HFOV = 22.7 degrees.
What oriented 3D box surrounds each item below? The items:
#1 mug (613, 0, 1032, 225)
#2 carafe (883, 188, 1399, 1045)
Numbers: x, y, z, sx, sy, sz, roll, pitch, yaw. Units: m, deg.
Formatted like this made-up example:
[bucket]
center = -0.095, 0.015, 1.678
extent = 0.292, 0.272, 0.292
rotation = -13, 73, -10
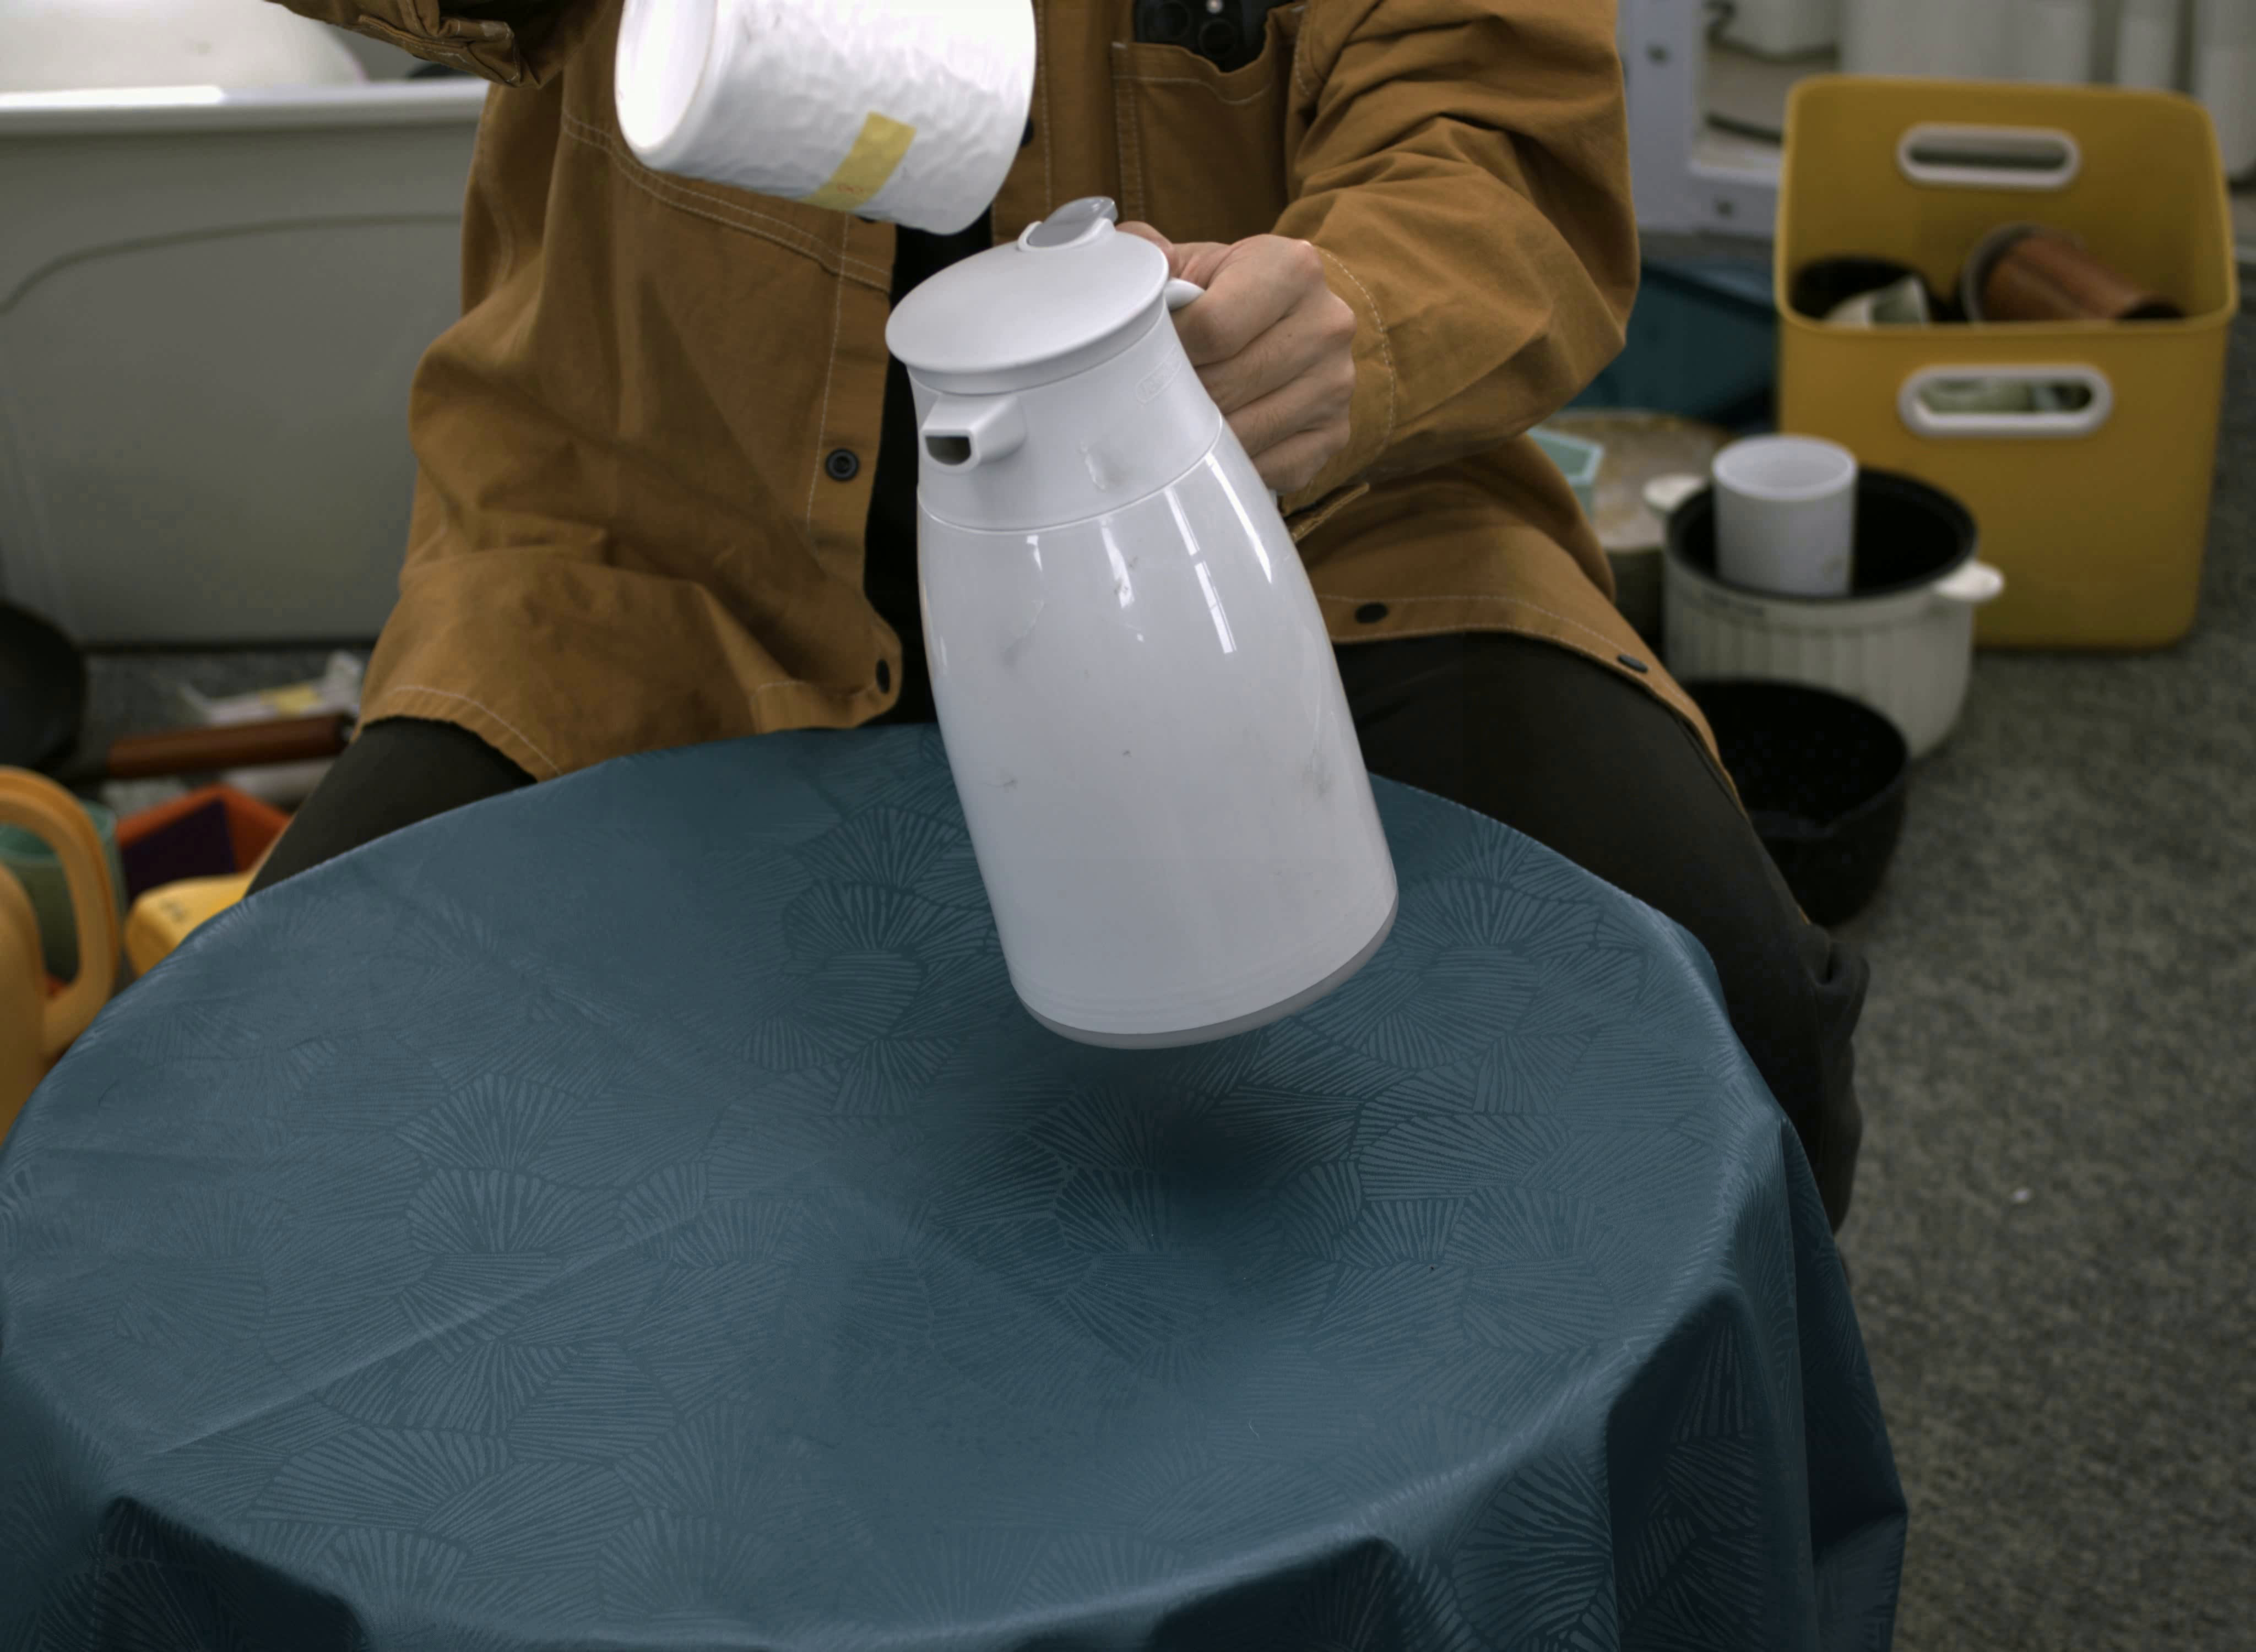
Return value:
[mug]
center = -0.097, -0.241, 1.703
extent = 0.102, 0.084, 0.120
rotation = 10, 34, -28
[carafe]
center = 0.002, -0.078, 1.821
extent = 0.131, 0.246, 0.171
rotation = 0, 31, 29
